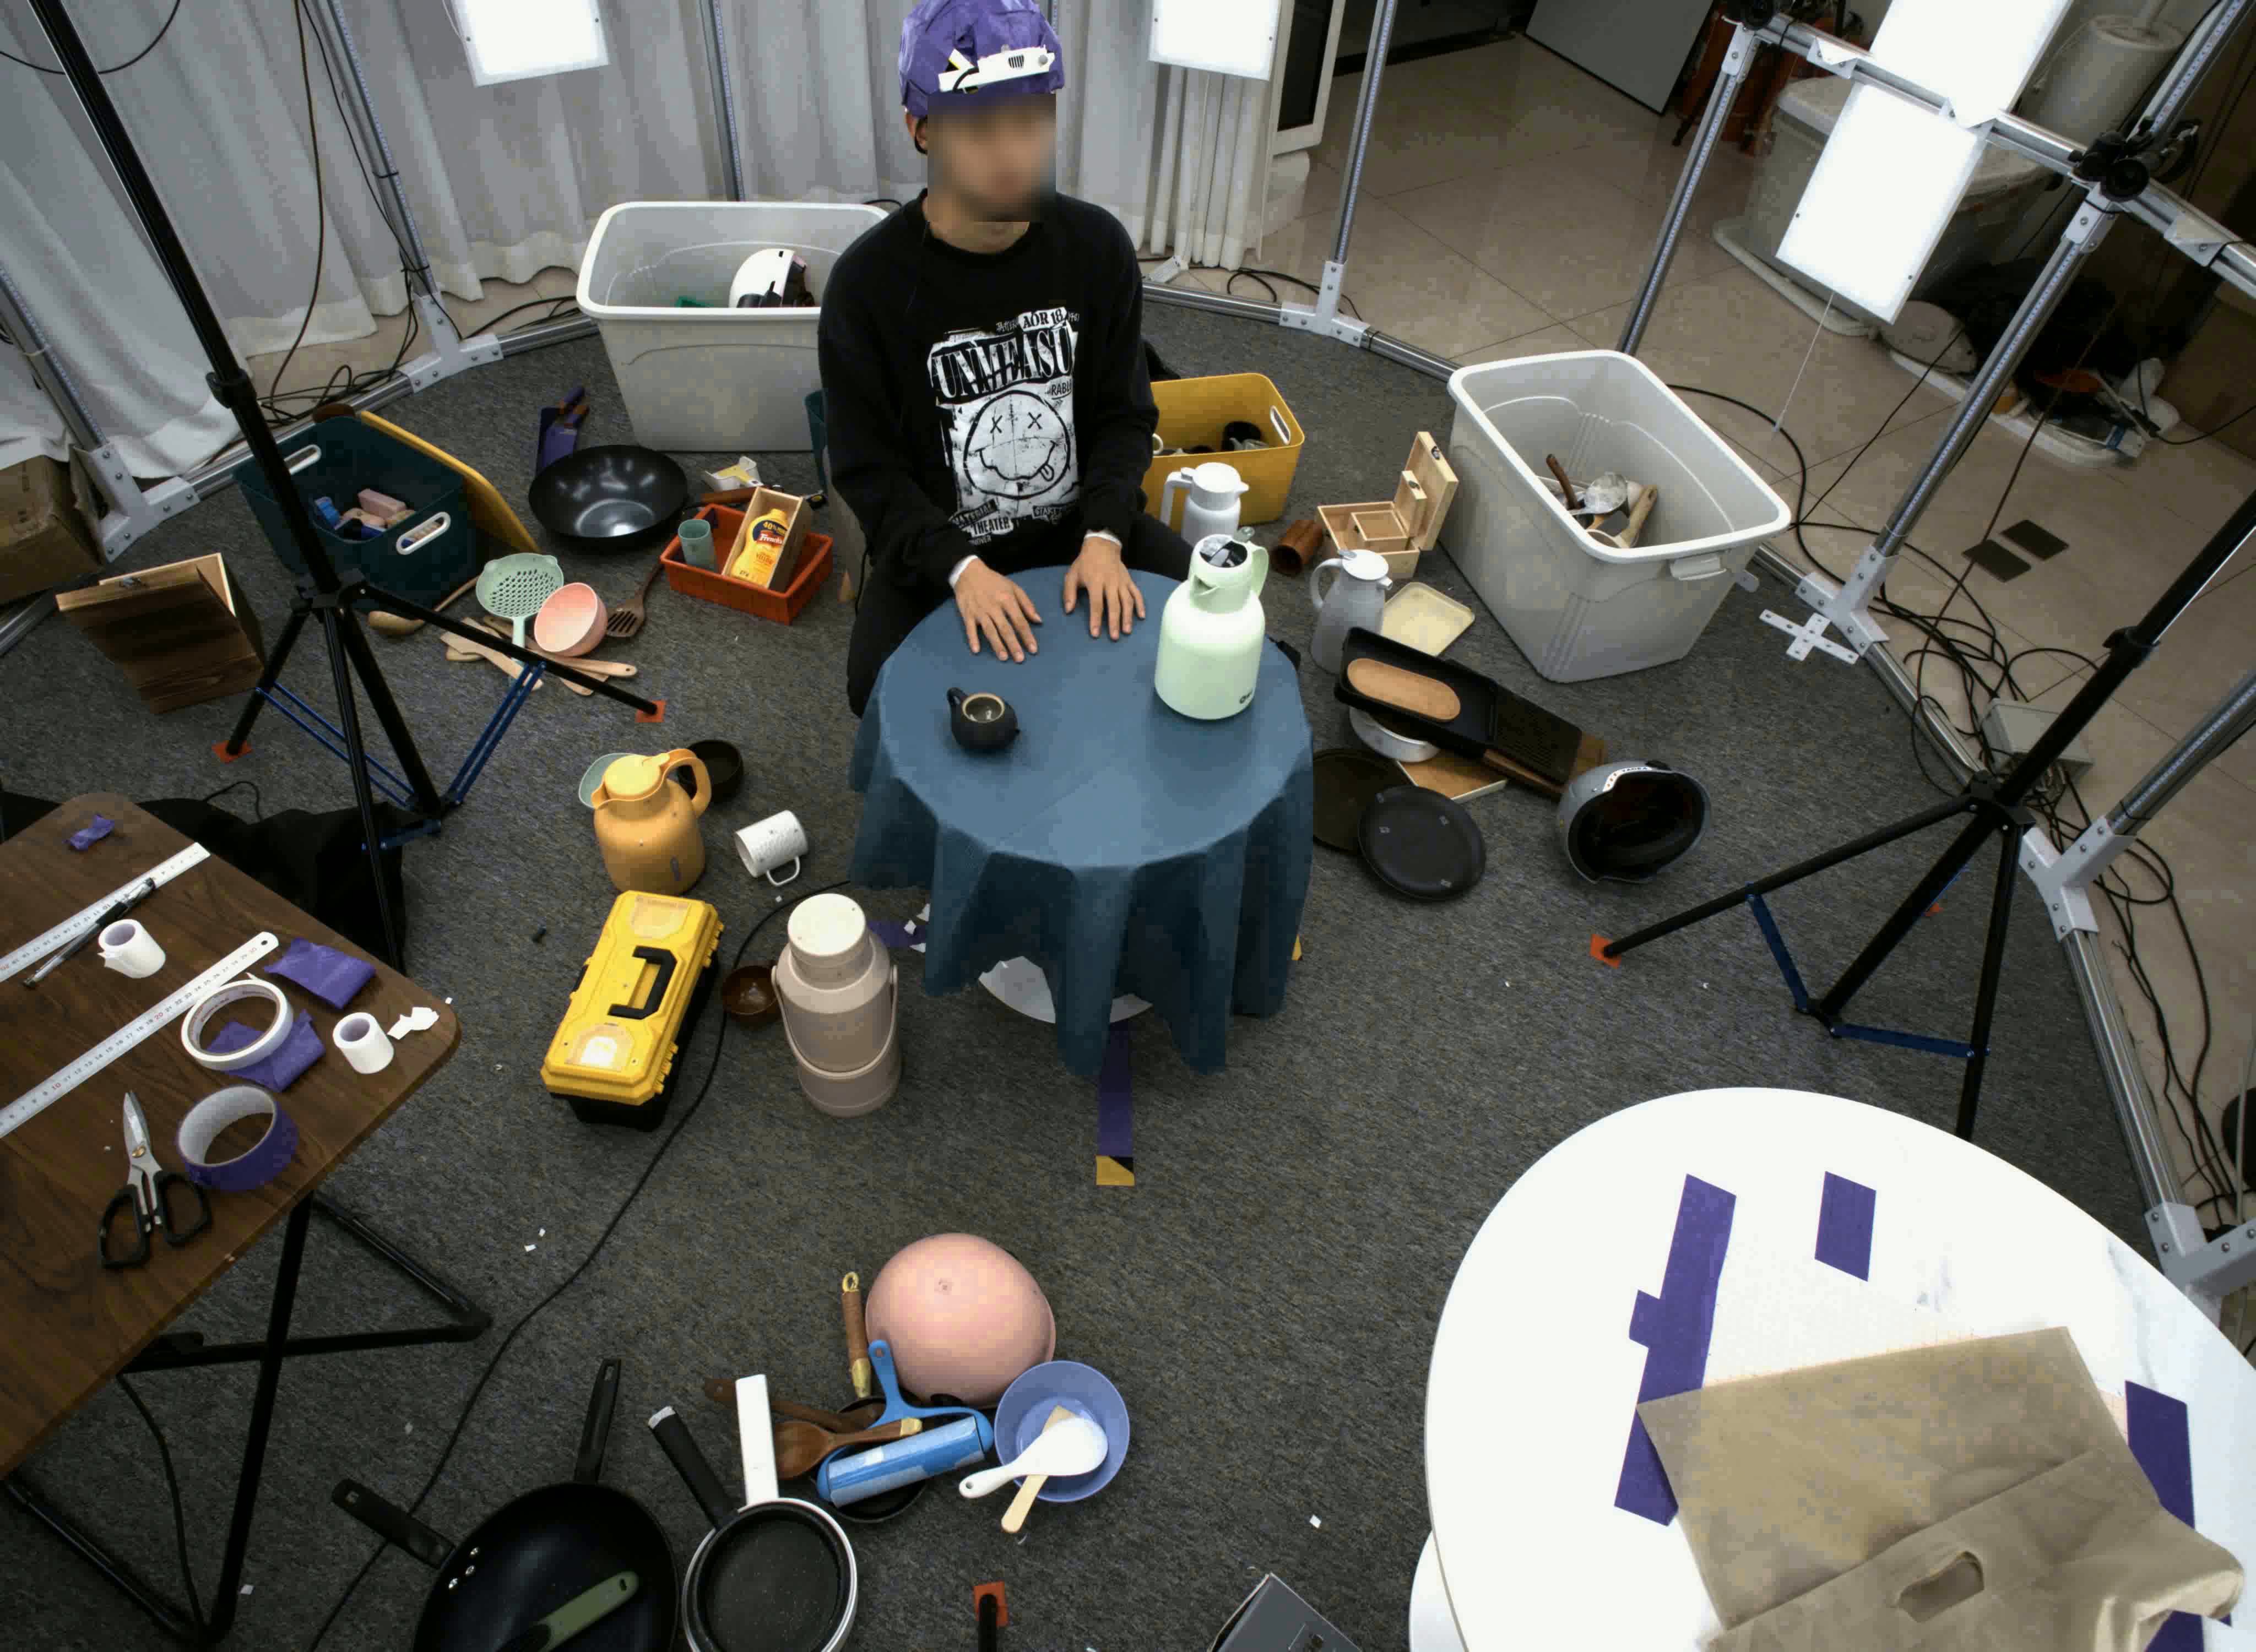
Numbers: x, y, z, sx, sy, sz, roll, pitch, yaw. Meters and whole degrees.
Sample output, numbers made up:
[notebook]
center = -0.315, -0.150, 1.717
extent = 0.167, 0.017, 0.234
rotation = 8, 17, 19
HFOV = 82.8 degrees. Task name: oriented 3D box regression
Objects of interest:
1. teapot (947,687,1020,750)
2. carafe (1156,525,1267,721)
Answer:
[teapot]
center = -0.197, -0.143, 1.747
extent = 0.135, 0.052, 0.092
rotation = 35, 54, 23
[carafe]
center = 0.125, -0.283, 1.761
extent = 0.146, 0.250, 0.189
rotation = 29, 50, 21
